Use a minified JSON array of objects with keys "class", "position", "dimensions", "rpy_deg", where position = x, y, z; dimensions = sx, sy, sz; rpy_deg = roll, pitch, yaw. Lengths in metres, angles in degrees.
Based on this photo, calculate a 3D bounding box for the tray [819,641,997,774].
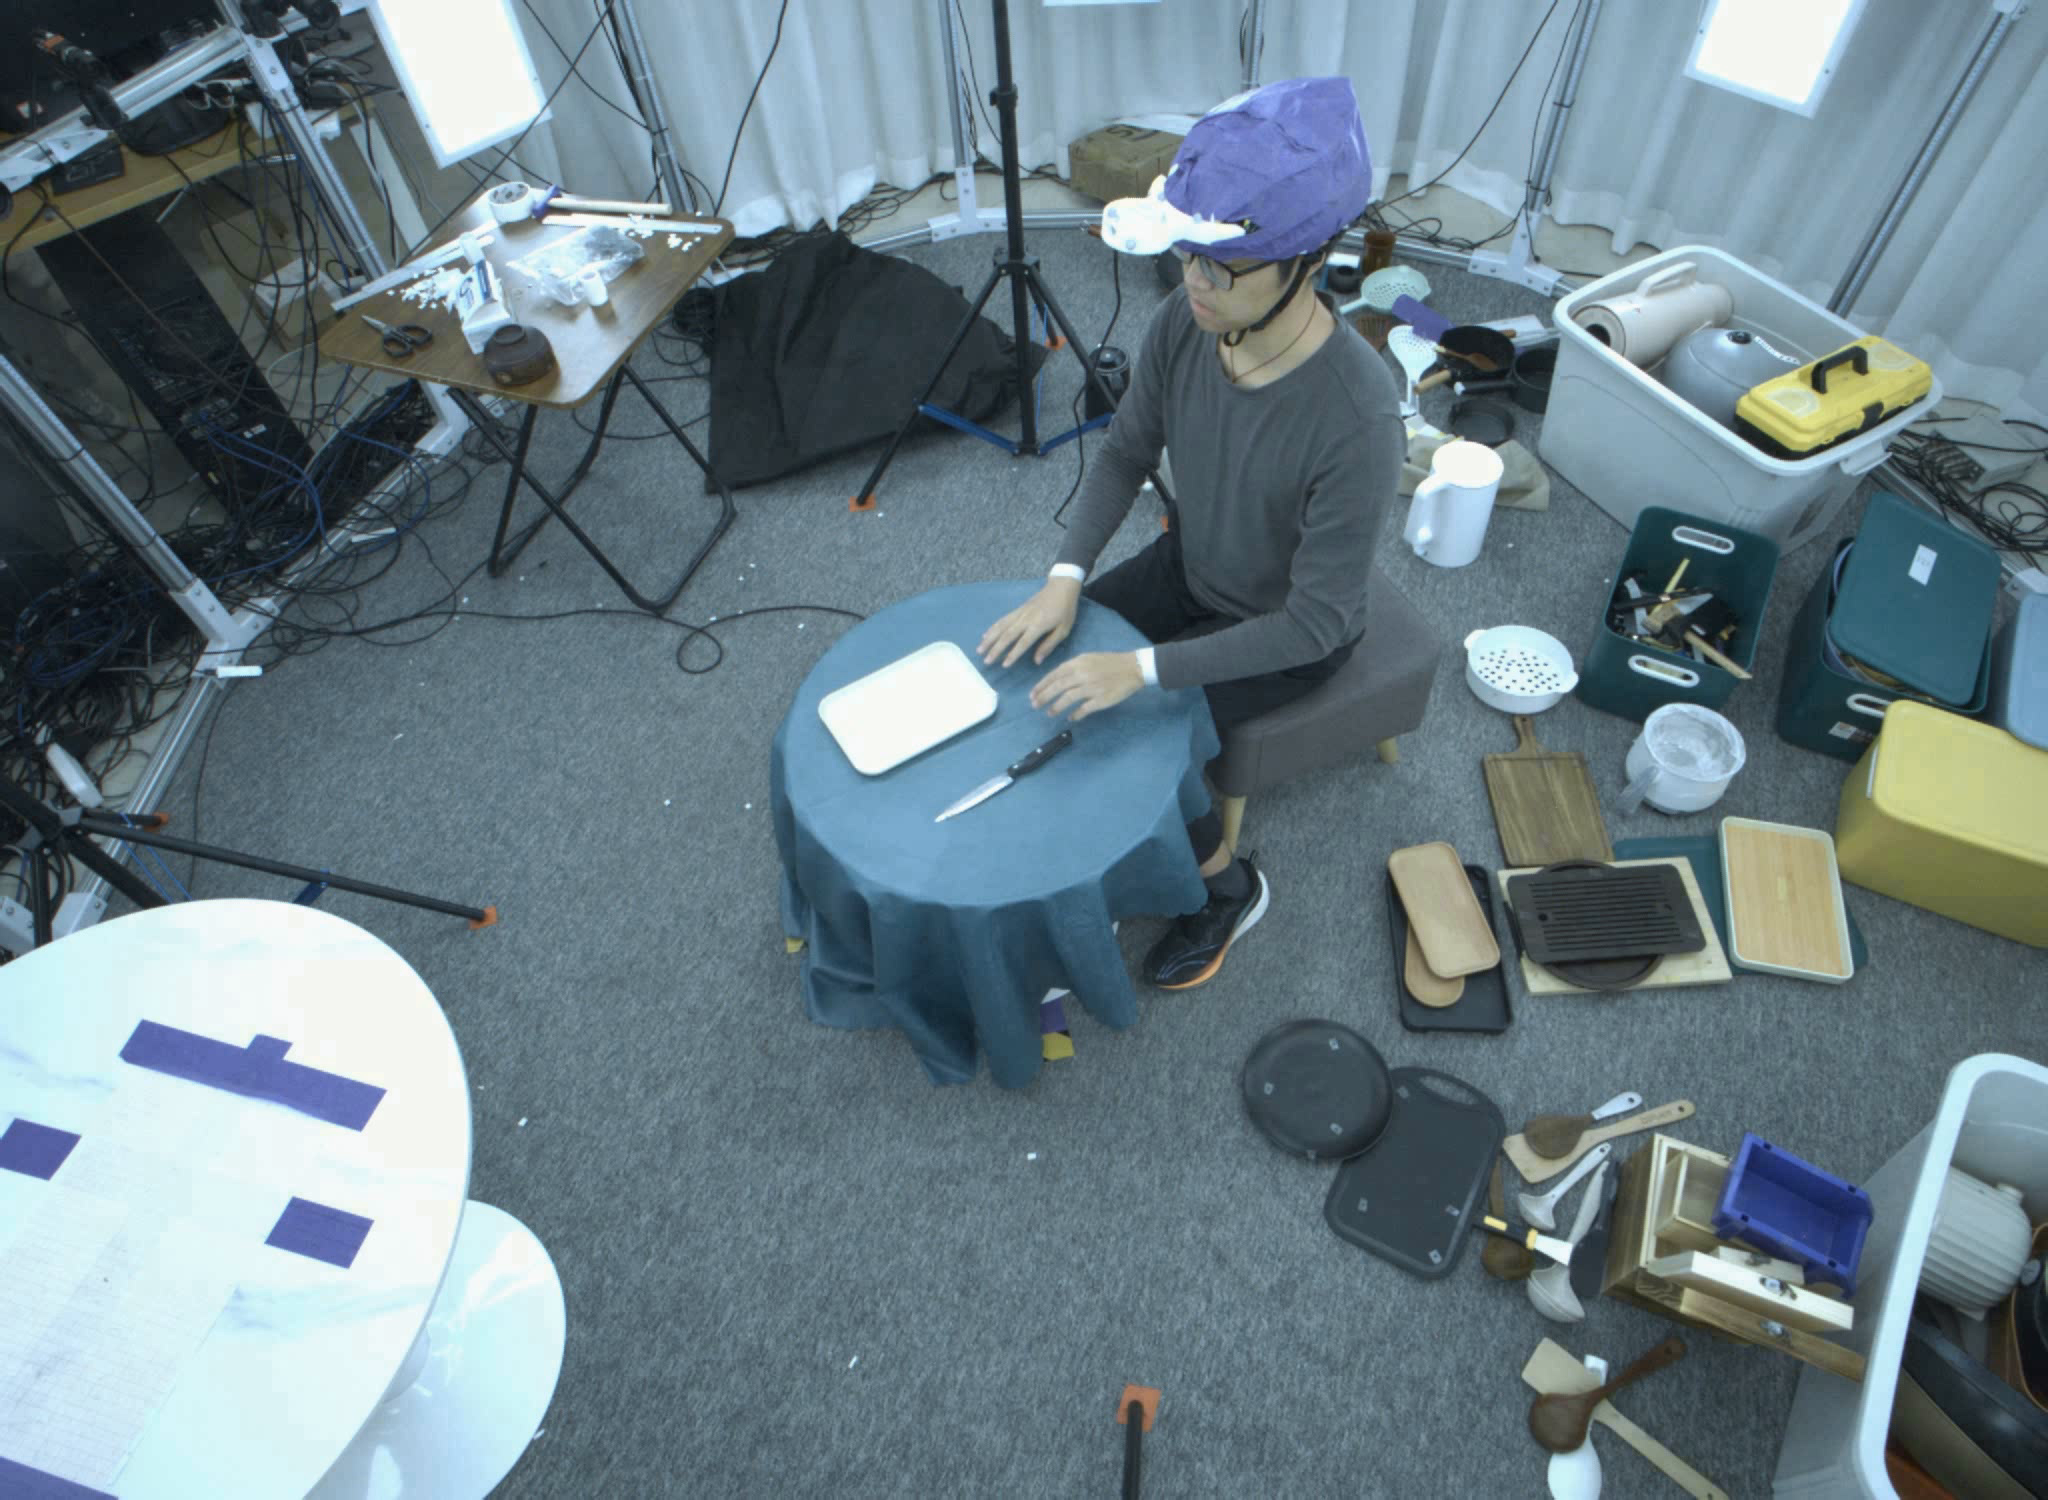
[{"class":"tray","position":[-0.173,-0.065,1.834],"dimensions":[0.241,0.017,0.168],"rpy_deg":[-28,58,-18]}]

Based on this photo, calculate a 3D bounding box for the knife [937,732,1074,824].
[{"class":"knife","position":[-0.028,0.039,1.761],"dimensions":[0.240,0.016,0.024],"rpy_deg":[-33,56,-17]}]
